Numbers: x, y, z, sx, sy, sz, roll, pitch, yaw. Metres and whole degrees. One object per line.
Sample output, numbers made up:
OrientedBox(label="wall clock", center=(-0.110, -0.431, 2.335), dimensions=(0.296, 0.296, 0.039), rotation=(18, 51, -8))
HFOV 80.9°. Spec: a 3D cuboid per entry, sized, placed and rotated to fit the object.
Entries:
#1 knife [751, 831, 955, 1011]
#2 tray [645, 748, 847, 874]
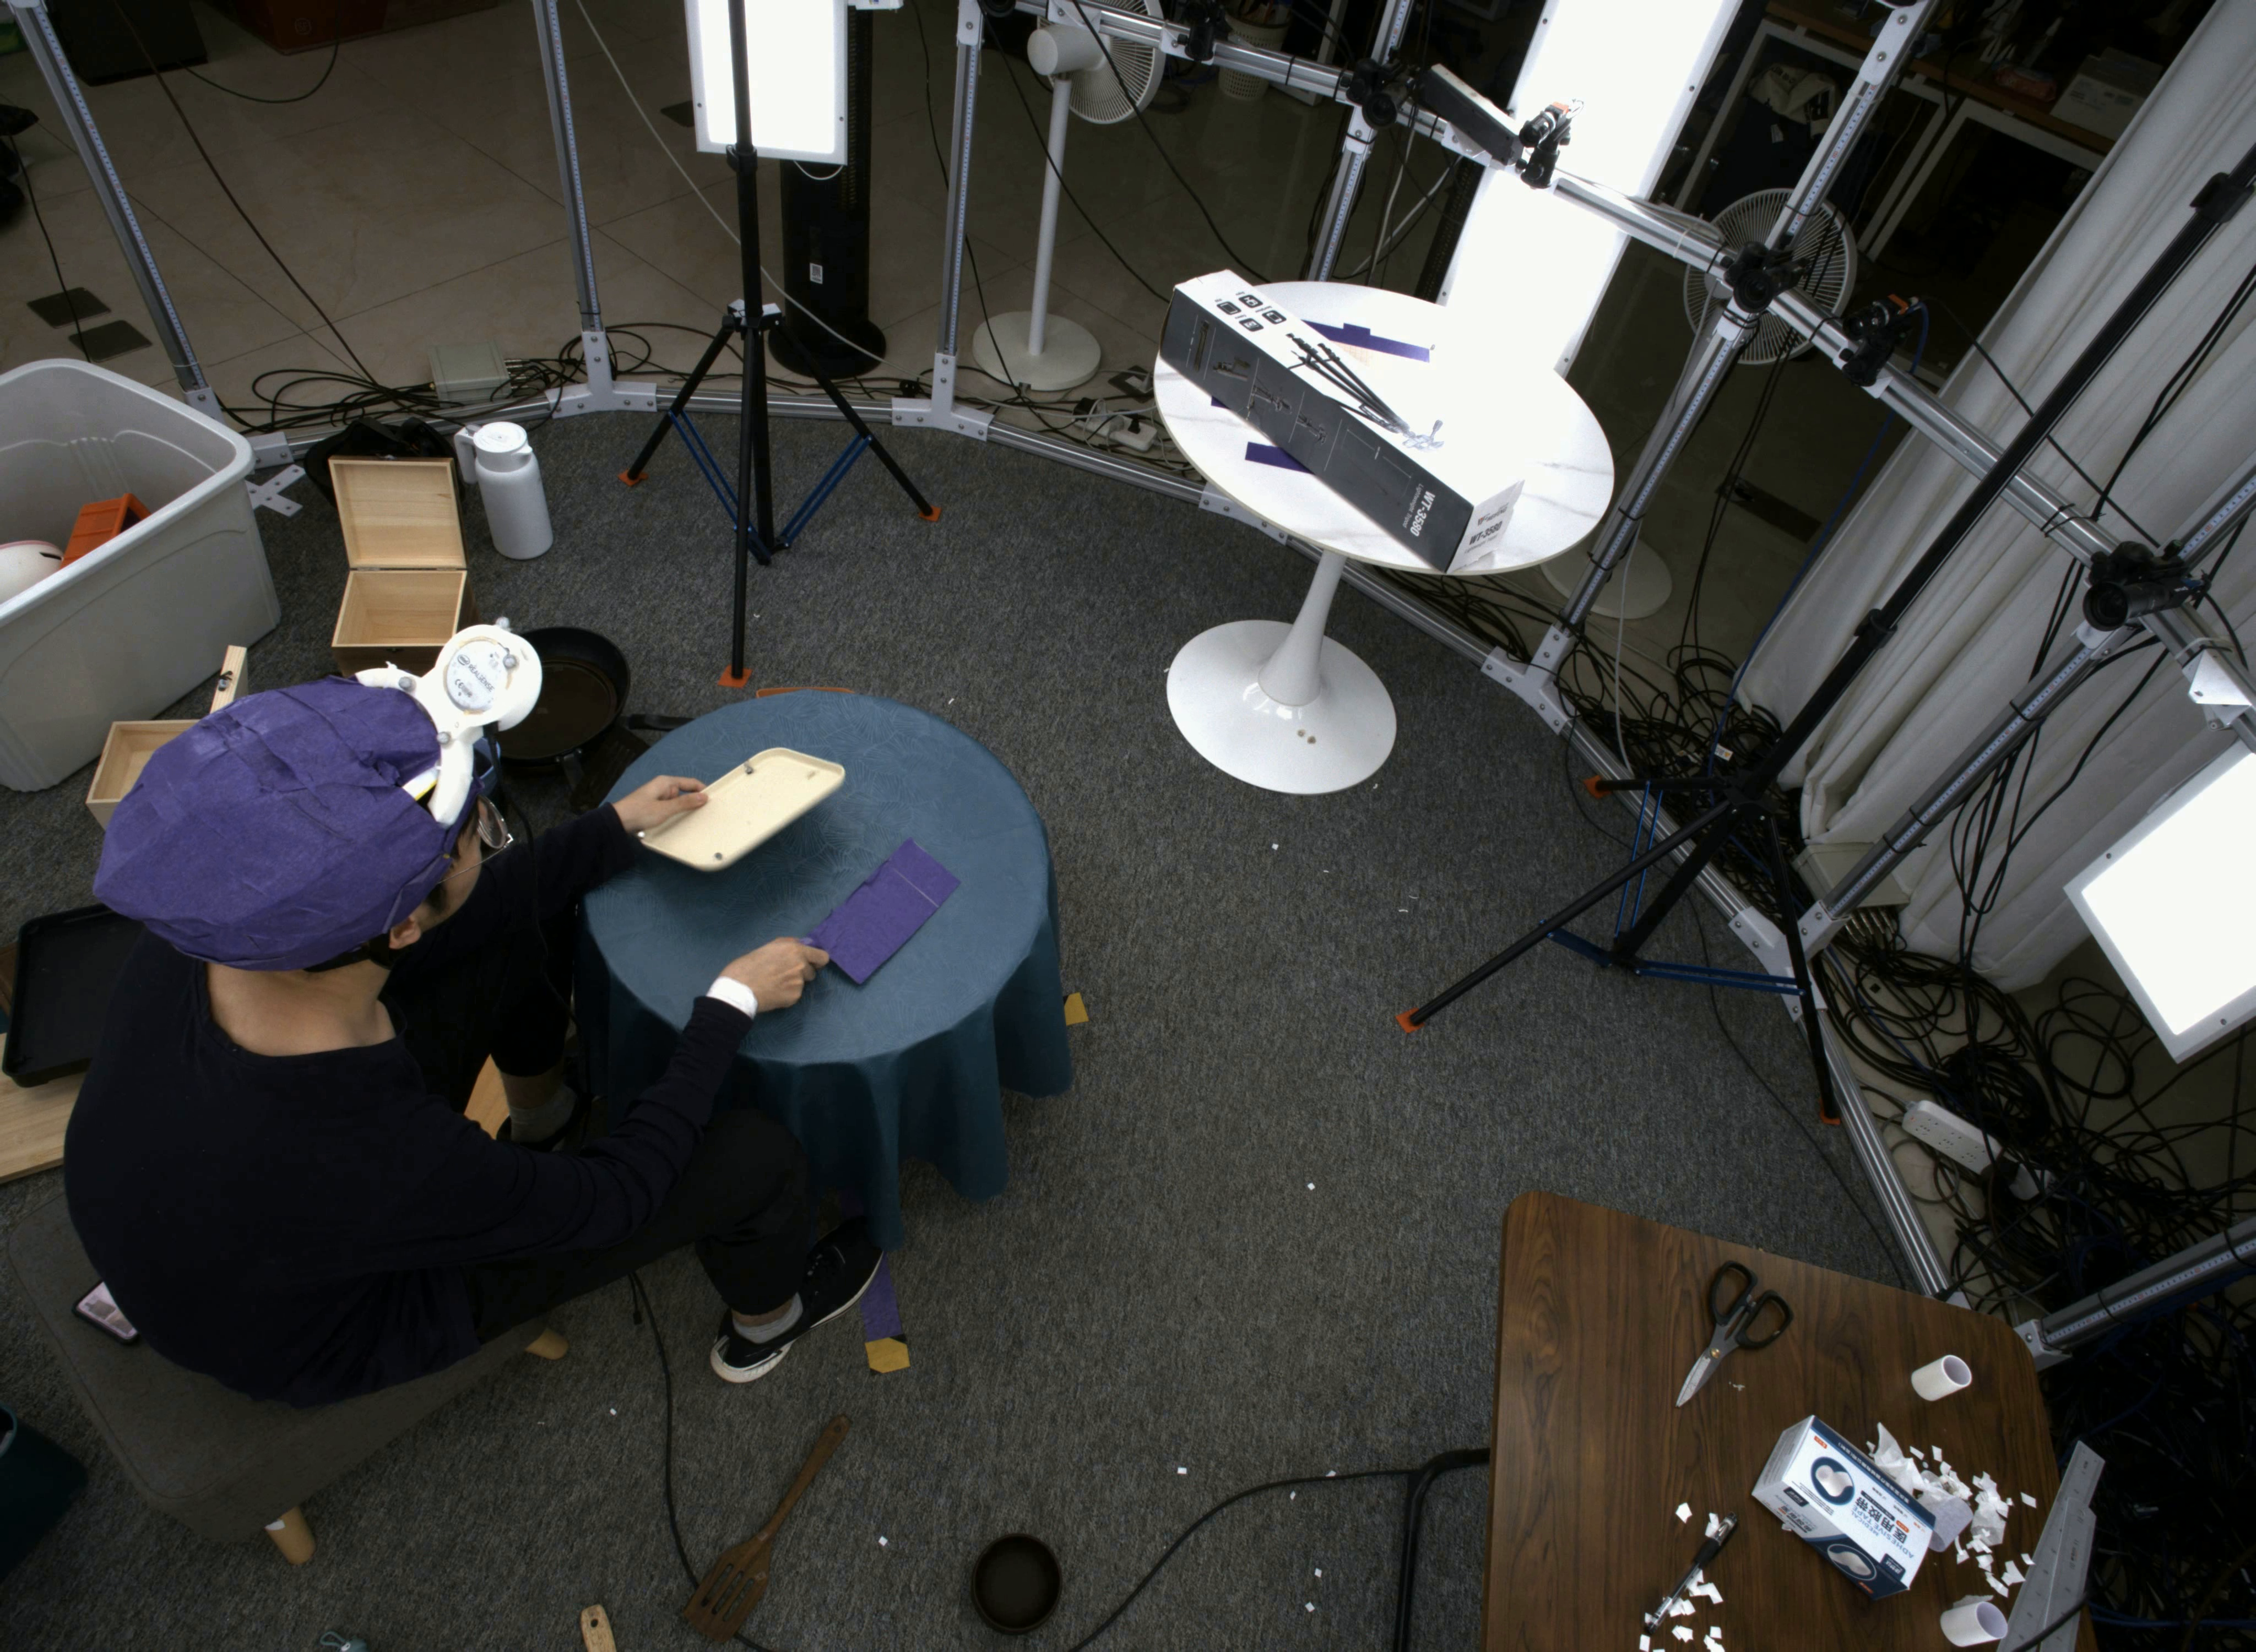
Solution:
OrientedBox(label="knife", center=(-0.334, 0.131, 1.631), dimensions=(0.104, 0.032, 0.314), rotation=(42, 54, -2))
OrientedBox(label="tray", center=(-0.485, -0.022, 1.648), dimensions=(0.165, 0.018, 0.240), rotation=(18, 44, 33))
